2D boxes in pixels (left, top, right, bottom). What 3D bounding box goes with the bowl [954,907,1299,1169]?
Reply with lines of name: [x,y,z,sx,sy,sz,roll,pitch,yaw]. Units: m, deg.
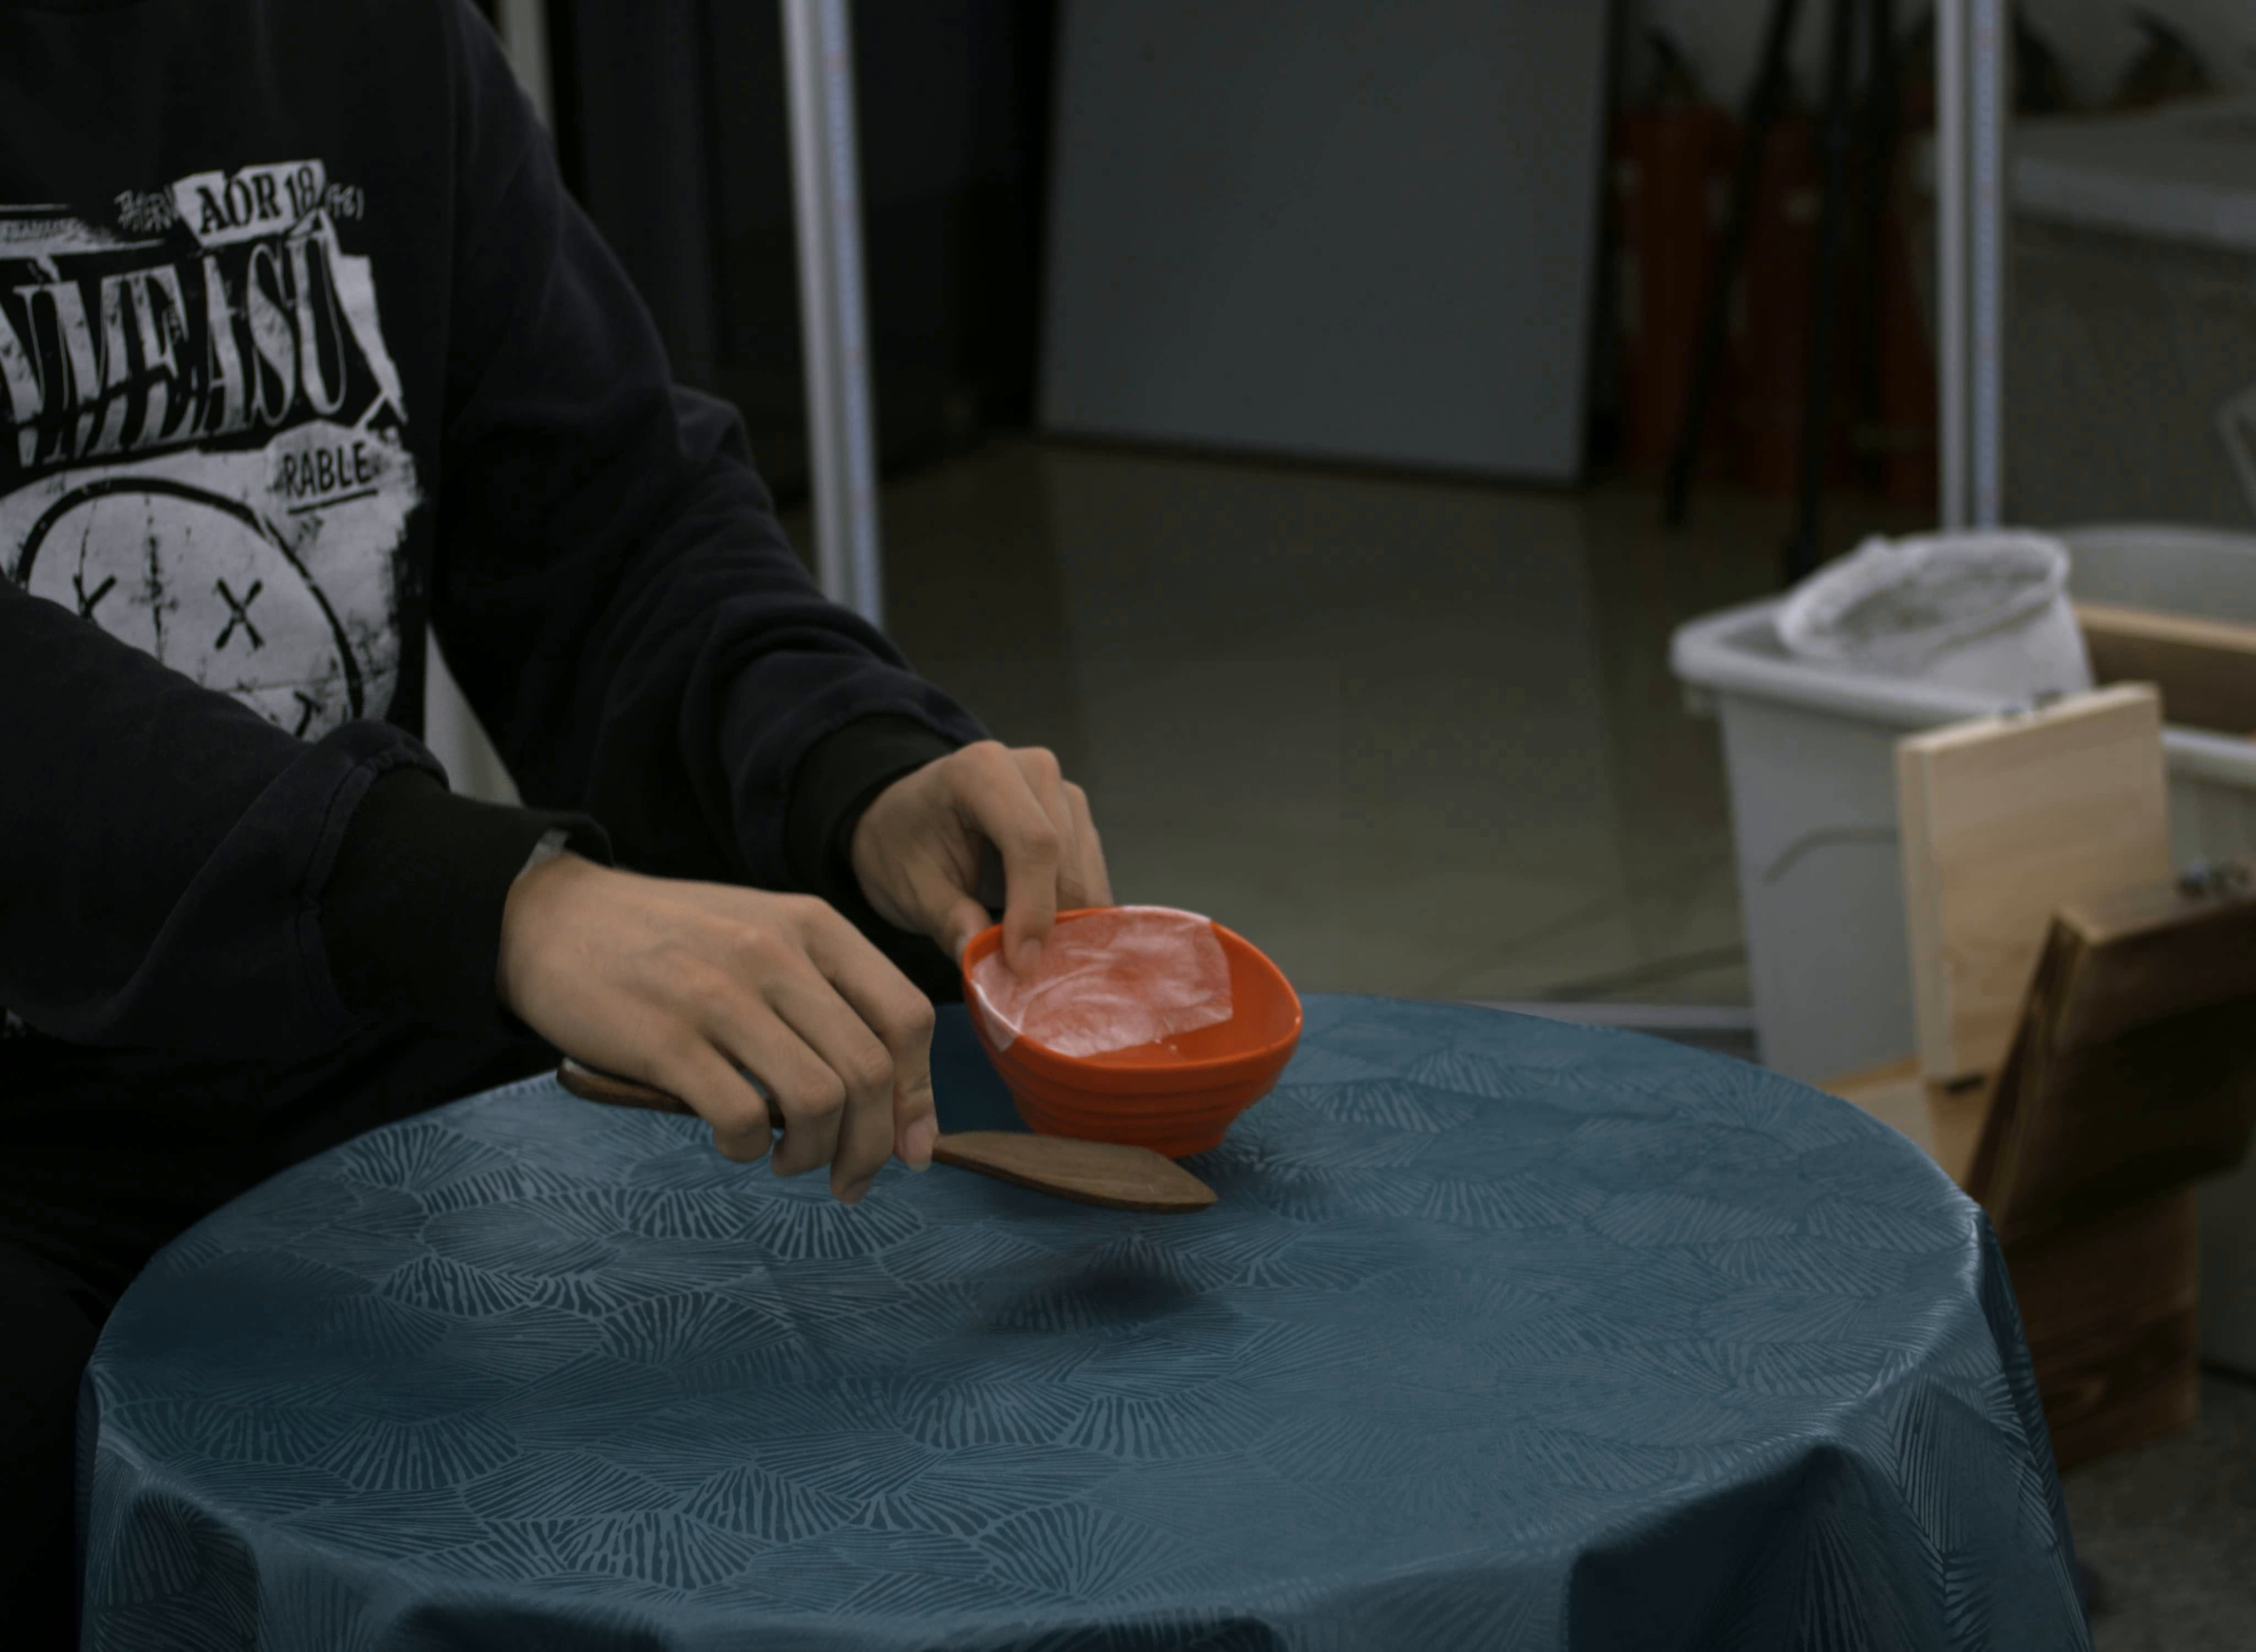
bowl: [-0.003,0.076,1.799,0.117,0.052,0.119,5,27,-3]

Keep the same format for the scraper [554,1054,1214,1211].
scraper: [-0.075,0.092,1.644,0.207,0.011,0.076,12,8,-23]
